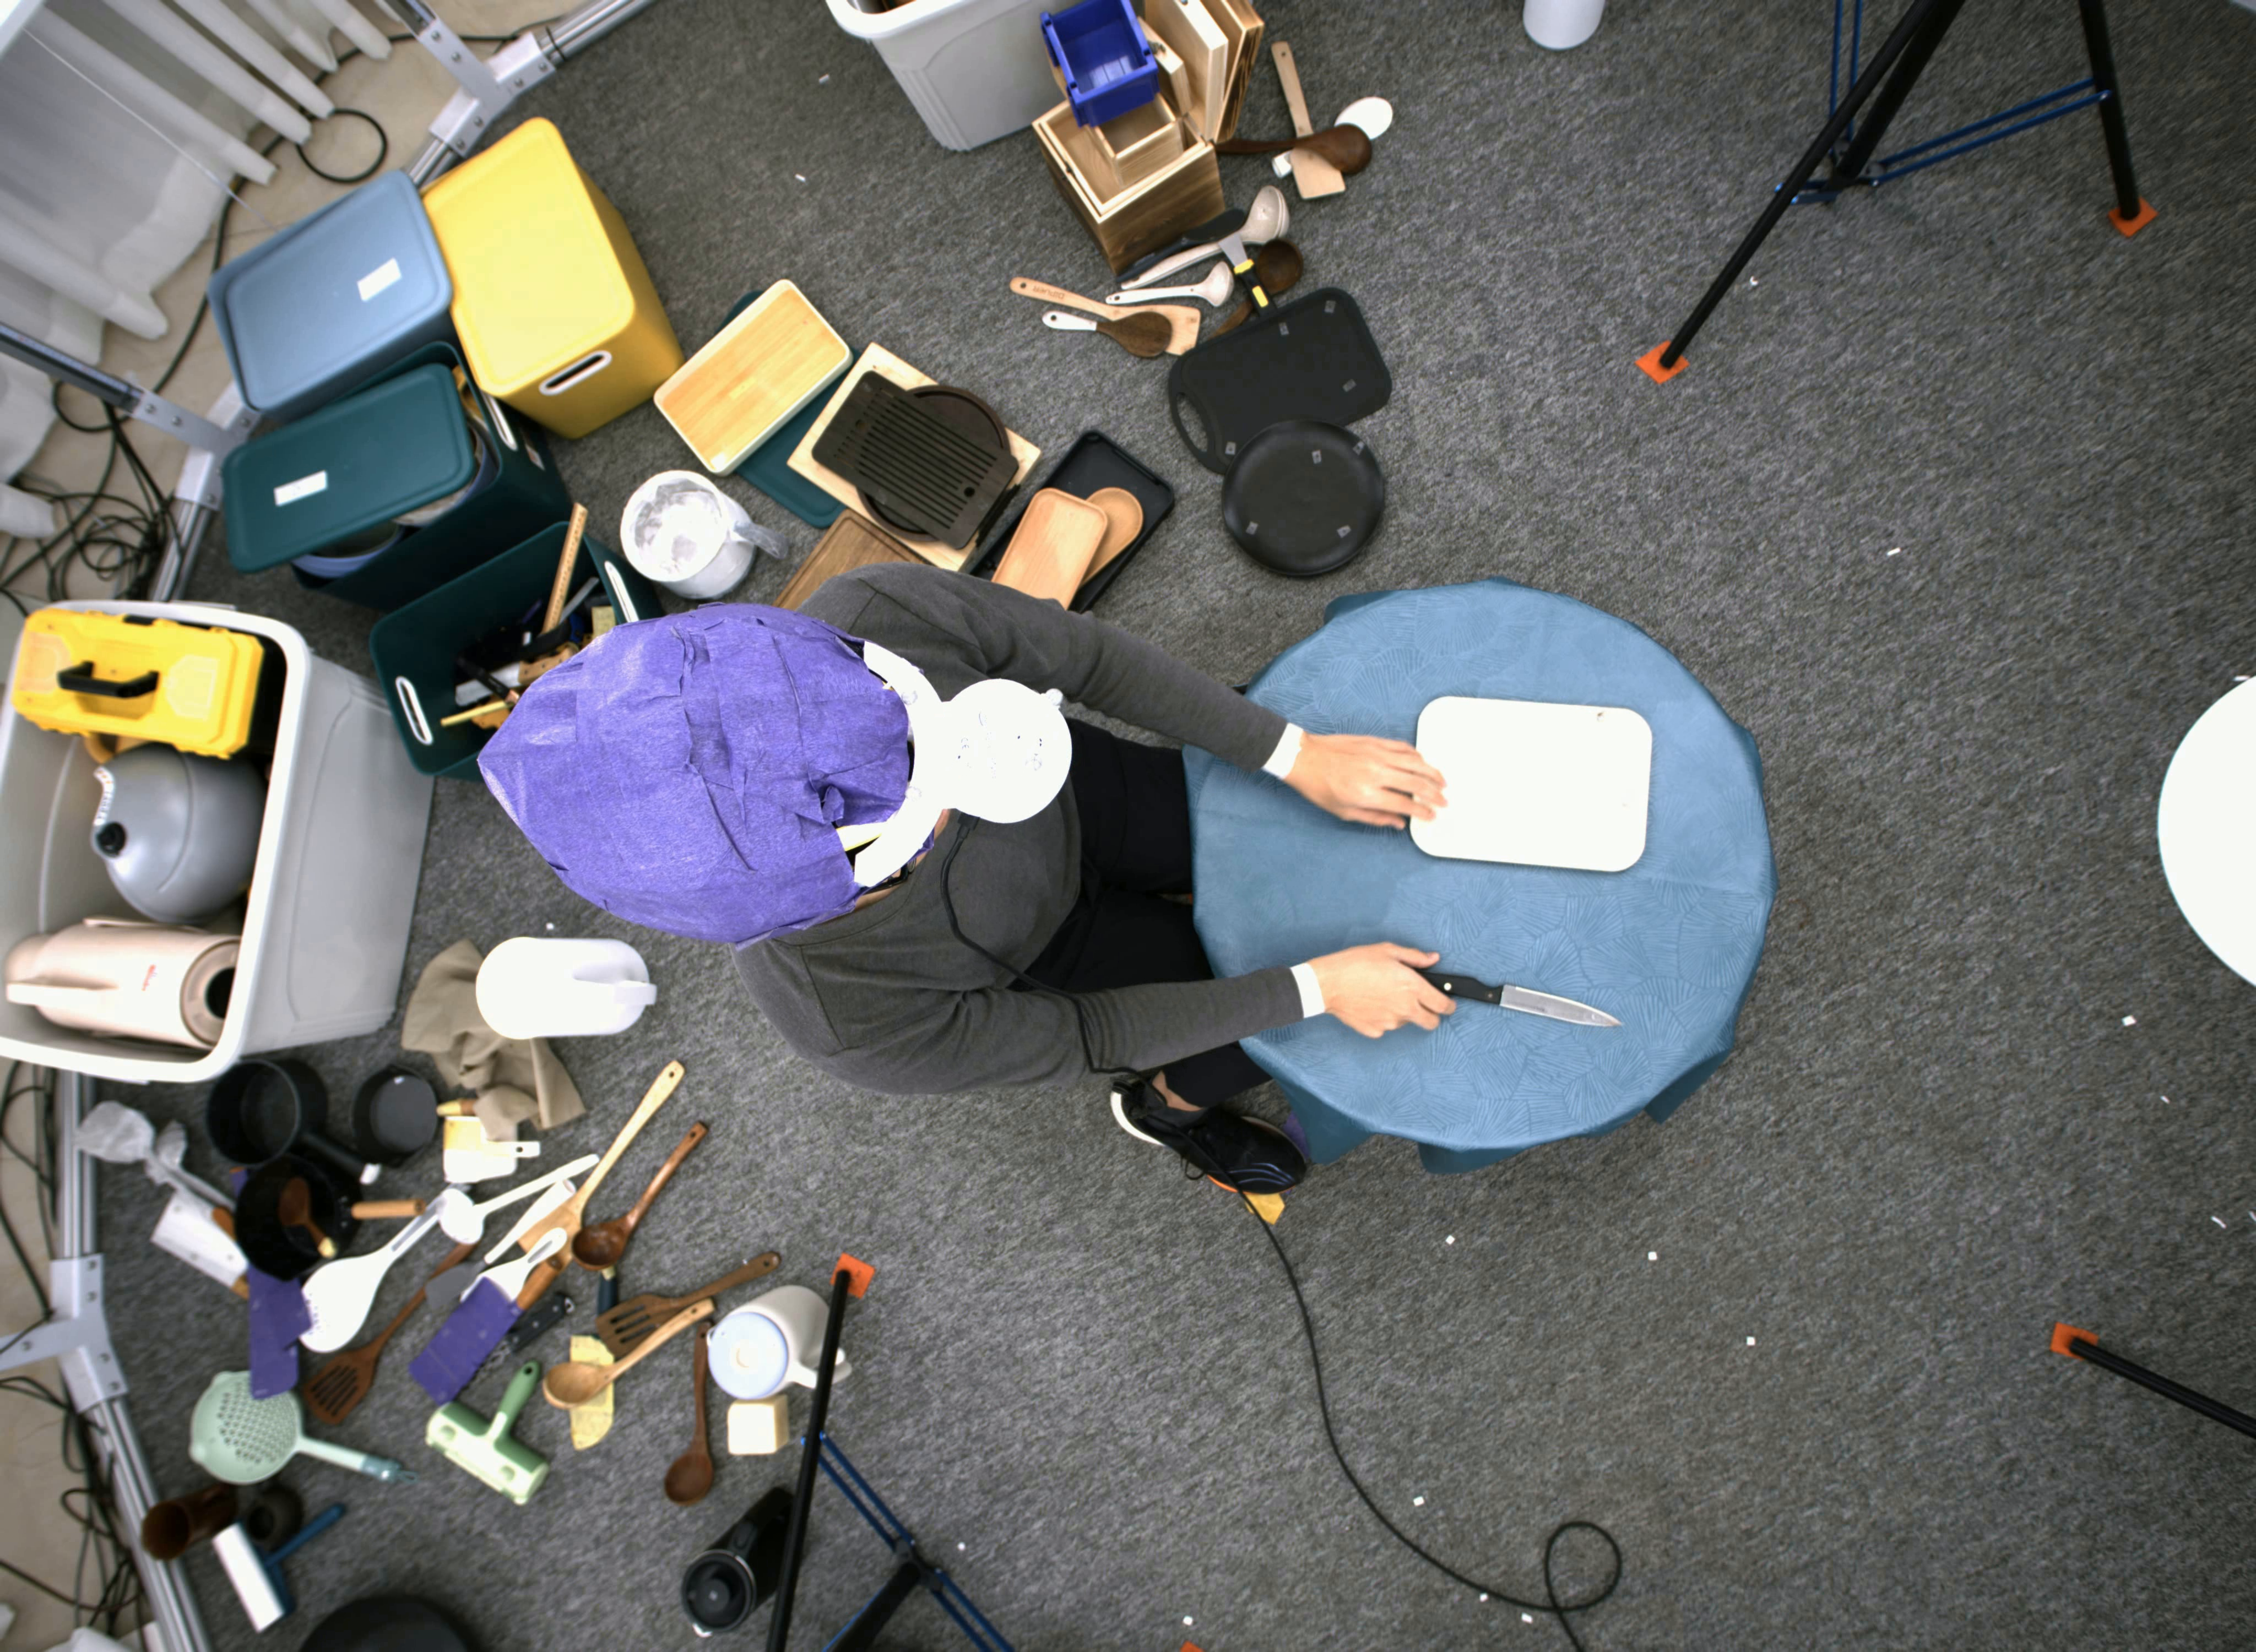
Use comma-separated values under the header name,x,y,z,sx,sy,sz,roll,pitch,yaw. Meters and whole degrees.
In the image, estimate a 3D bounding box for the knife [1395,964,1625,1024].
name,x,y,z,sx,sy,sz,roll,pitch,yaw
knife,0.393,0.176,1.425,0.238,0.016,0.024,12,90,10

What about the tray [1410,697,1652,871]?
name,x,y,z,sx,sy,sz,roll,pitch,yaw
tray,0.418,-0.047,1.430,0.240,0.017,0.171,5,89,11
